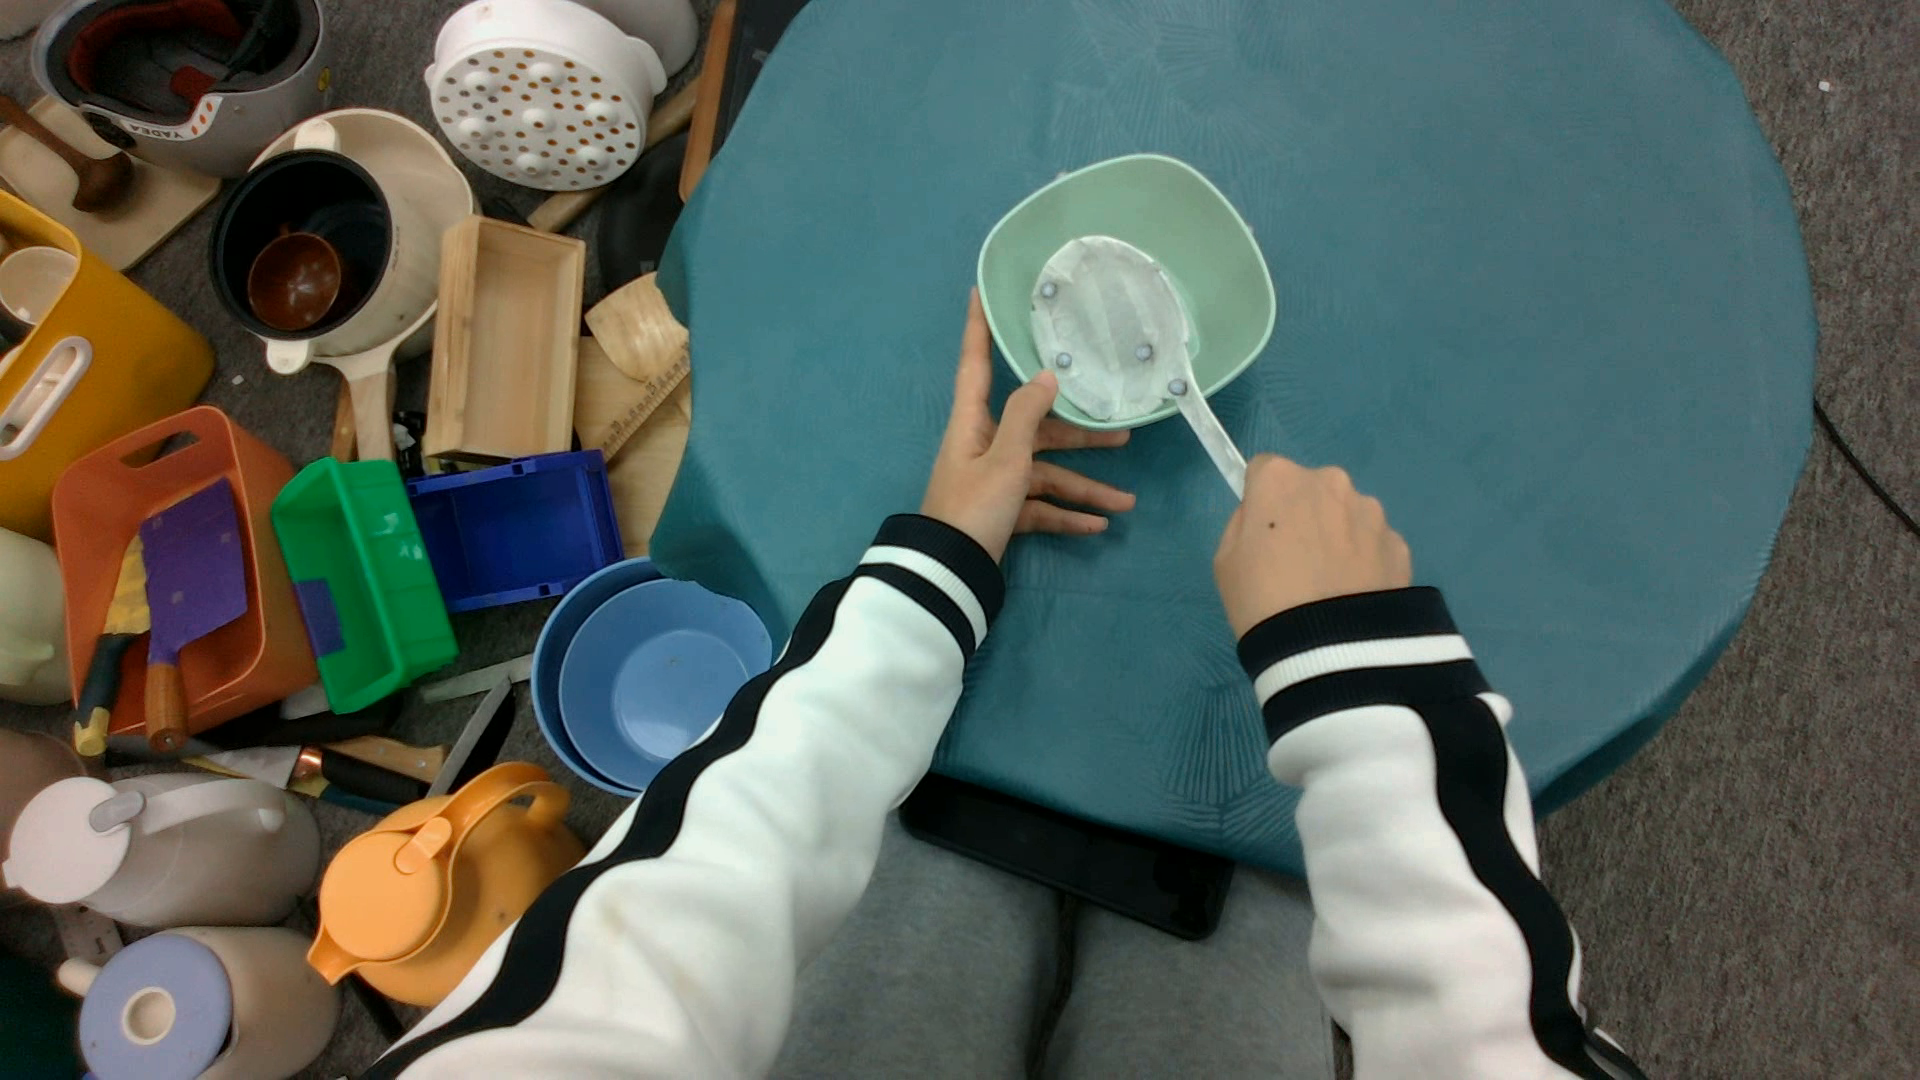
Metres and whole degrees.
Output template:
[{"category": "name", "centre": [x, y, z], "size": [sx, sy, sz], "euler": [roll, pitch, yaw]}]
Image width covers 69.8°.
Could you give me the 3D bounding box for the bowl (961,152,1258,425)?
[{"category": "bowl", "centre": [0.076, -0.122, 0.716], "size": [0.151, 0.058, 0.152], "euler": [-1, 74, 3]}]

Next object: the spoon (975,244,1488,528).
[{"category": "spoon", "centre": [0.110, -0.073, 0.617], "size": [0.101, 0.059, 0.277], "euler": [-38, 40, -19]}]
